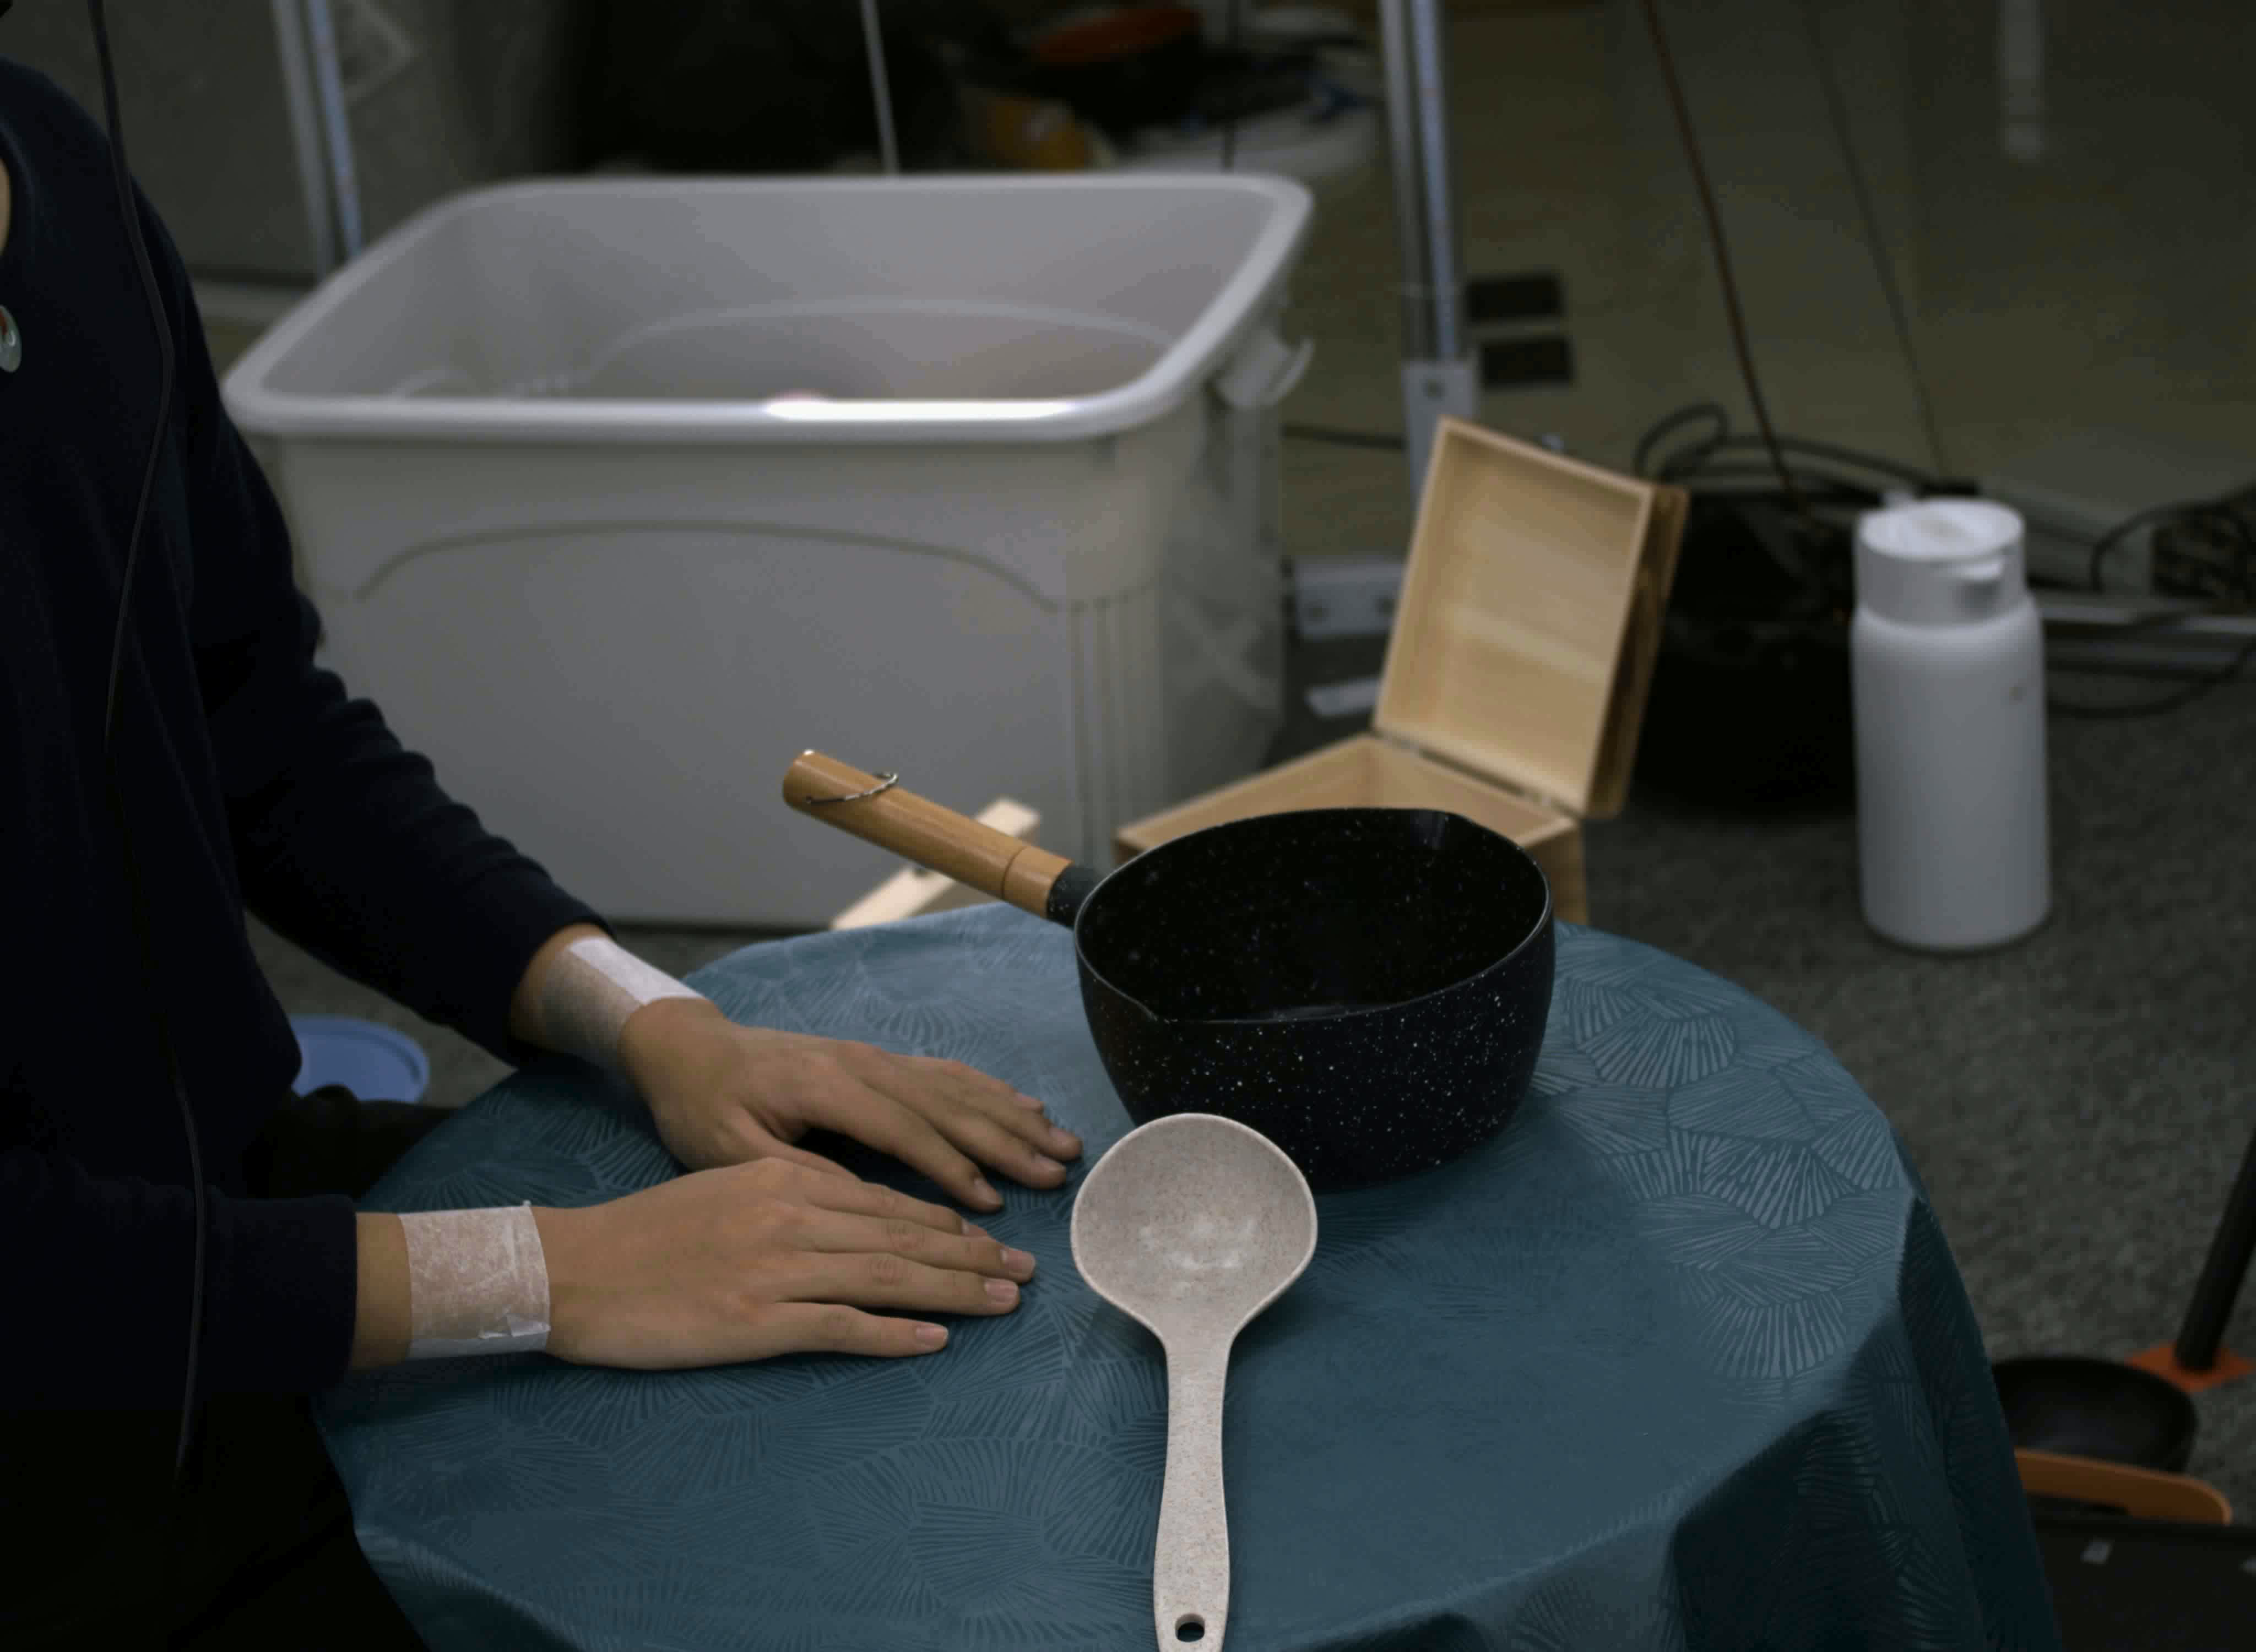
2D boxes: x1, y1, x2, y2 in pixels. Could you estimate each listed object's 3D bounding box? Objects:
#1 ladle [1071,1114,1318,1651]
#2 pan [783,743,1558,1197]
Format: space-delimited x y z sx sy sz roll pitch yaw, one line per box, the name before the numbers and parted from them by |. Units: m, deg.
ladle | 0.022 0.193 1.949 0.089 0.070 0.270 0 26 1
pan | 0.007 0.047 2.213 0.341 0.110 0.205 12 32 31
